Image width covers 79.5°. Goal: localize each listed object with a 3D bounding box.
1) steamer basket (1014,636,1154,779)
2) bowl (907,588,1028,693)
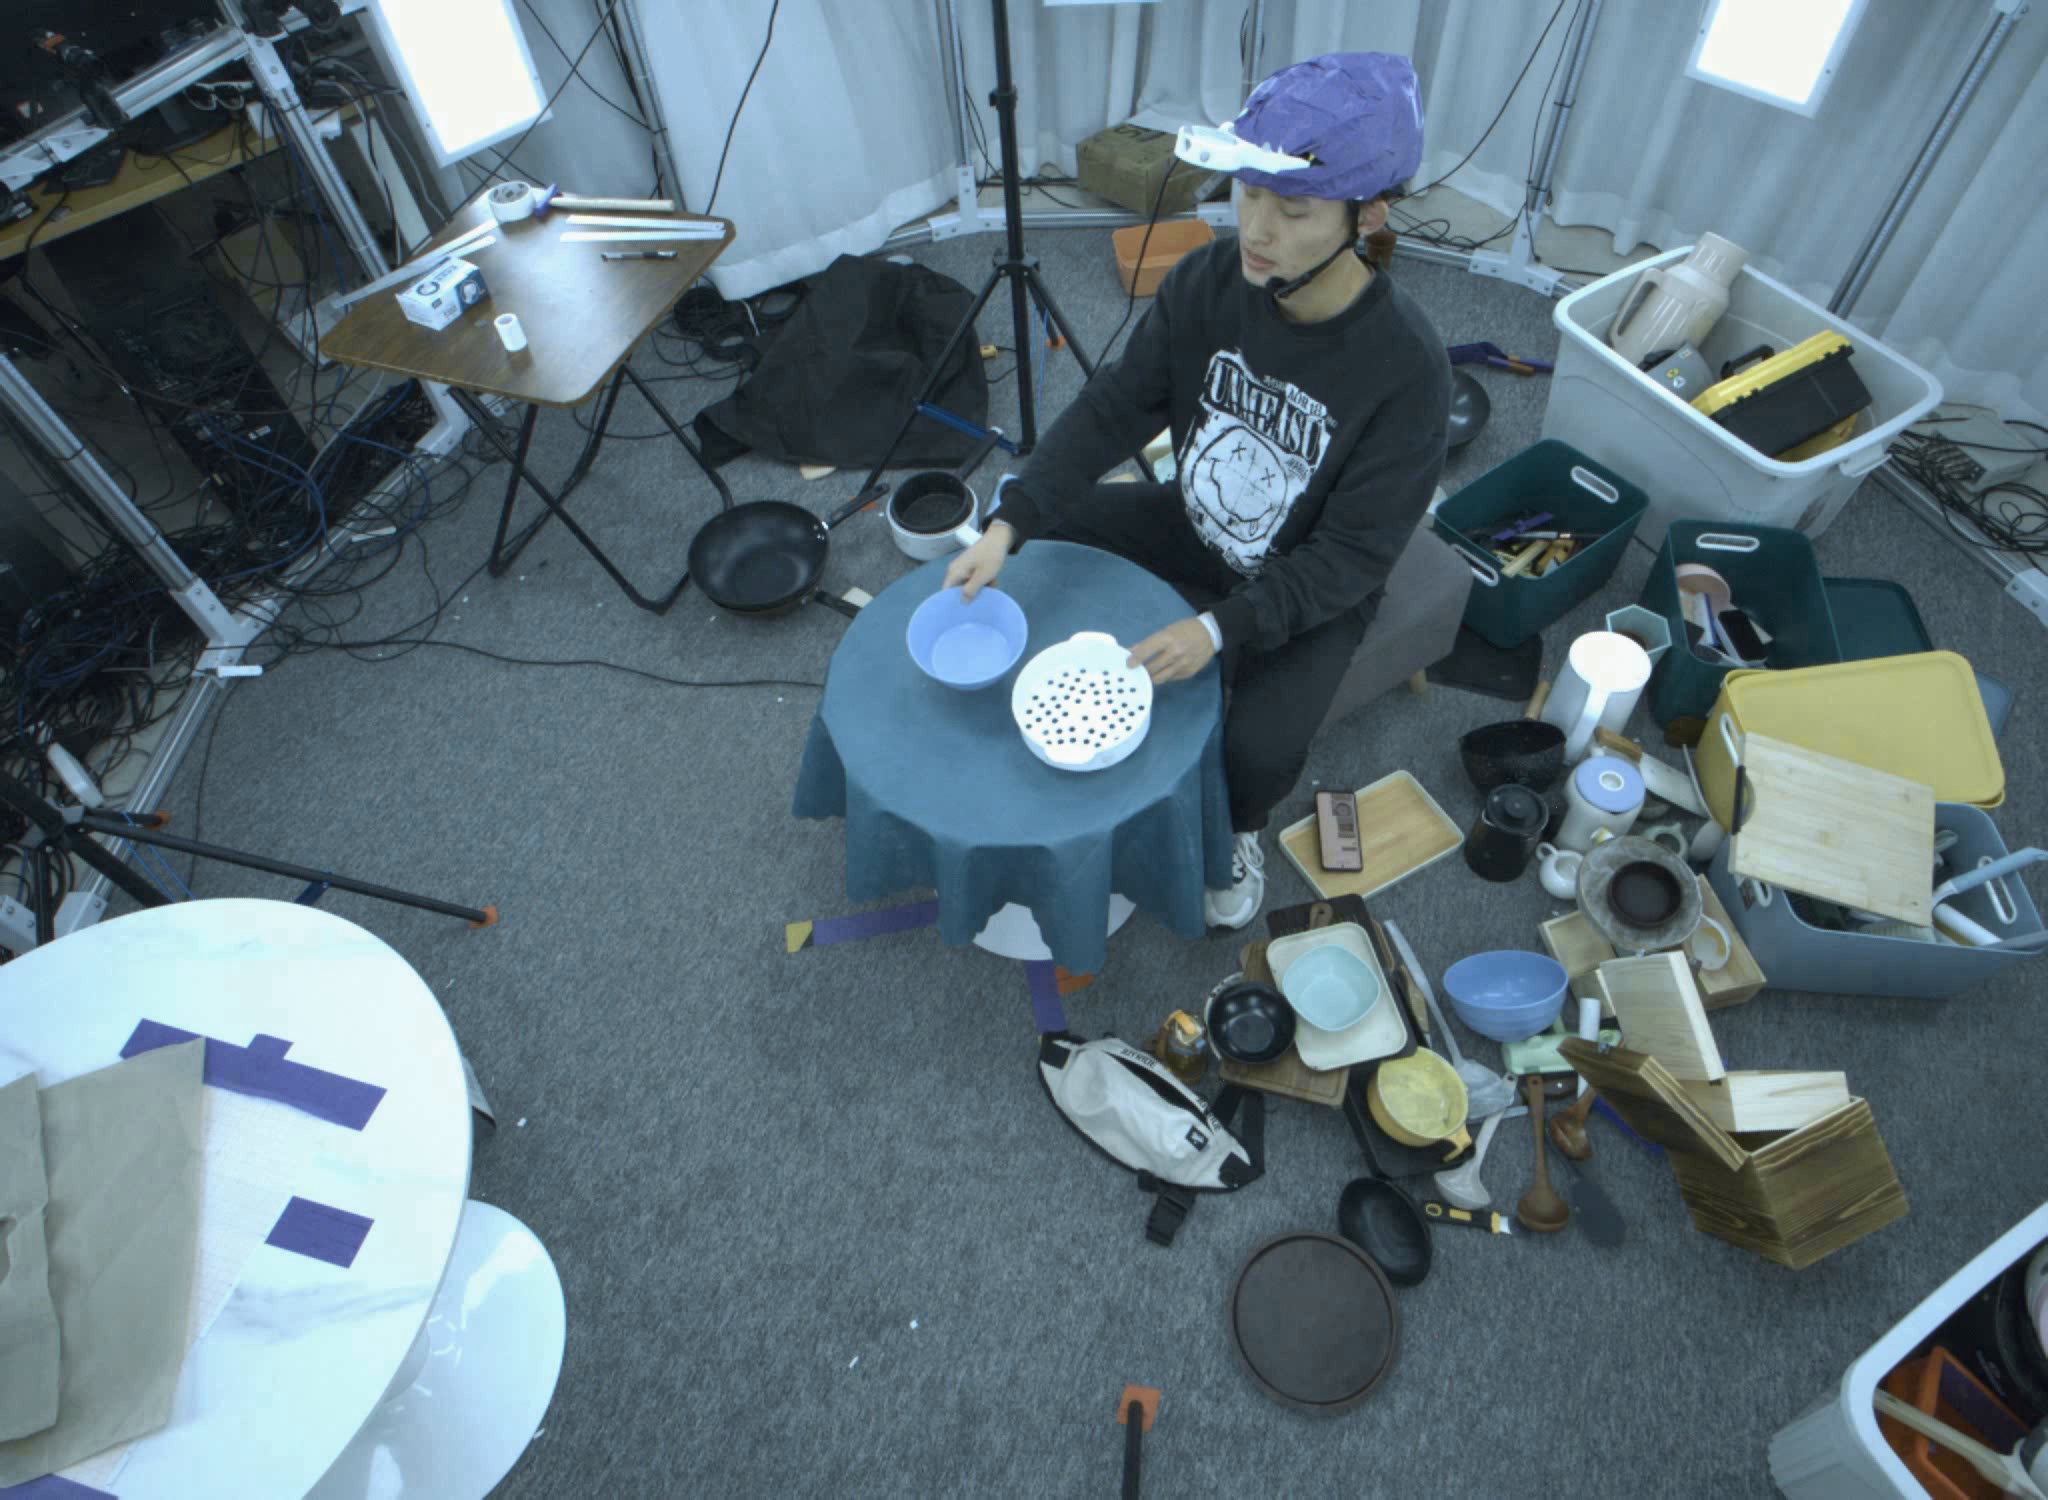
[{"bbox_3d":[0.089,-0.055,1.785,0.200,0.070,0.229,6,62,10],"label":"steamer basket"},{"bbox_3d":[-0.082,-0.151,1.816,0.176,0.071,0.174,0,62,1],"label":"bowl"}]
